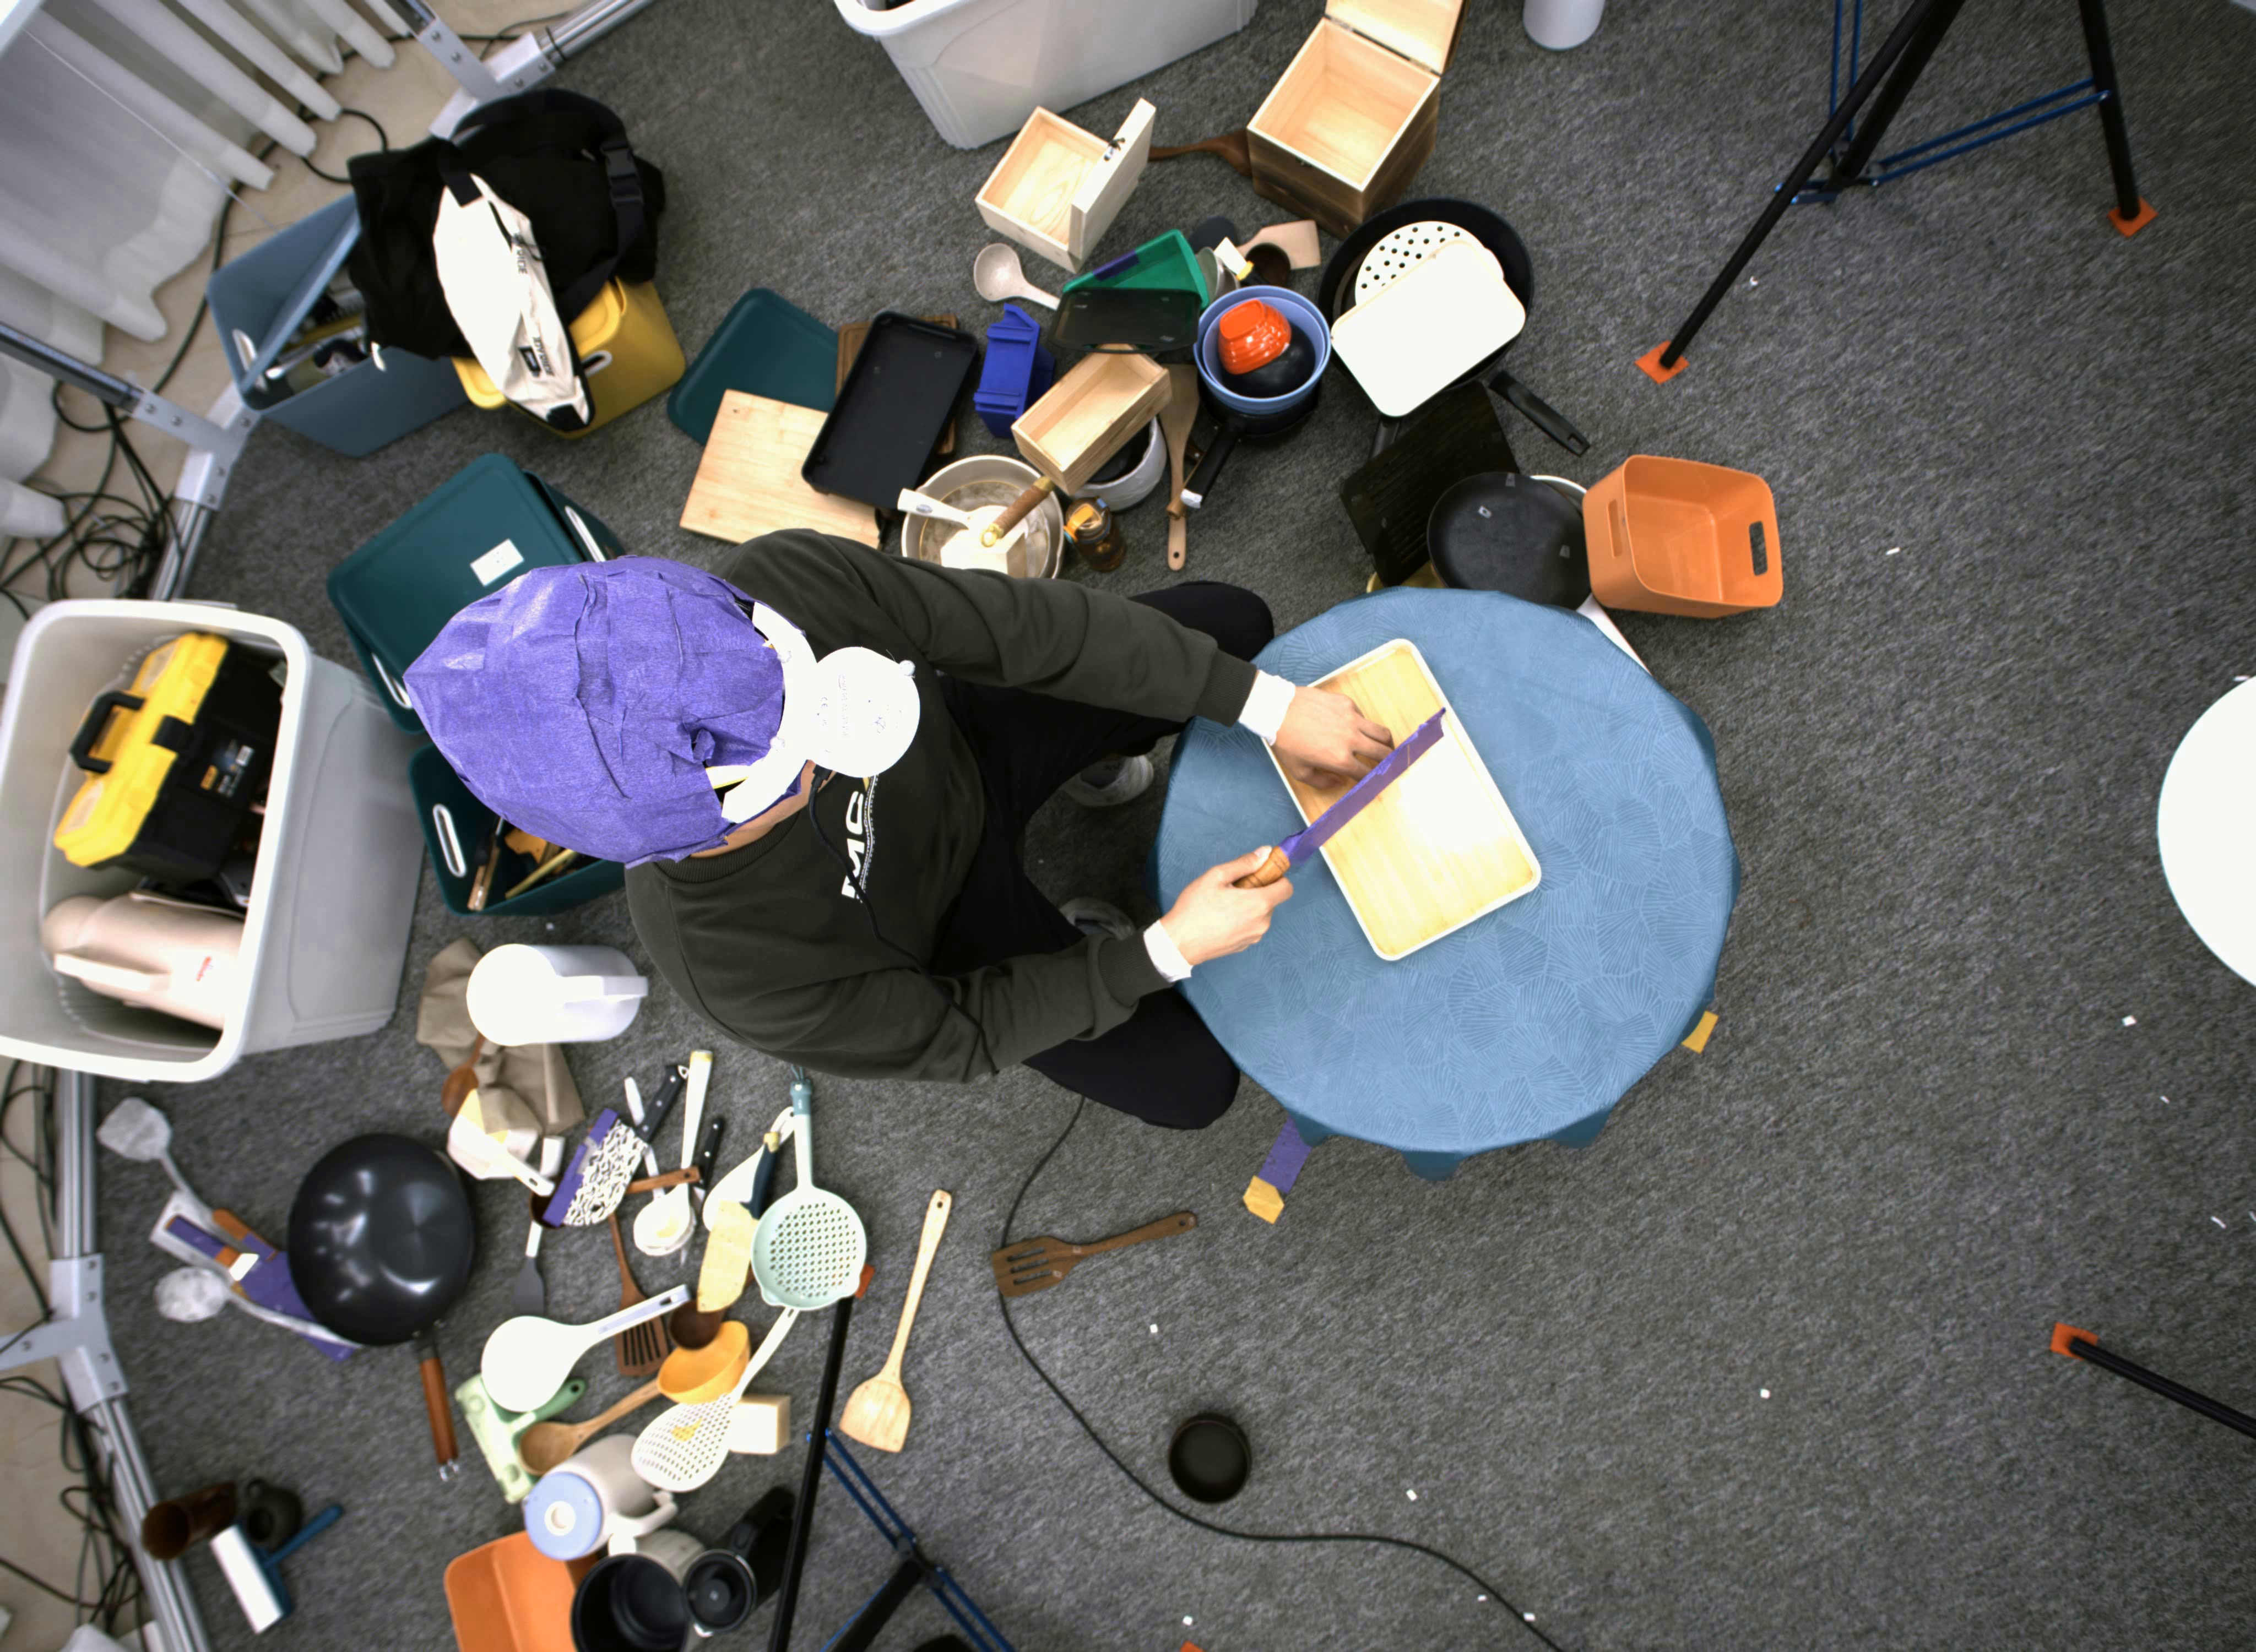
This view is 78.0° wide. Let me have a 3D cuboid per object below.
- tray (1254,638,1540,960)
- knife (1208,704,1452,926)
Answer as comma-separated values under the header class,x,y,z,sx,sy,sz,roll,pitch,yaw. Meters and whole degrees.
class,x,y,z,sx,sy,sz,roll,pitch,yaw
tray,0.280,-0.030,1.450,0.193,0.027,0.298,-28,82,8
knife,0.213,-0.005,1.404,0.315,0.105,0.032,-40,69,1
